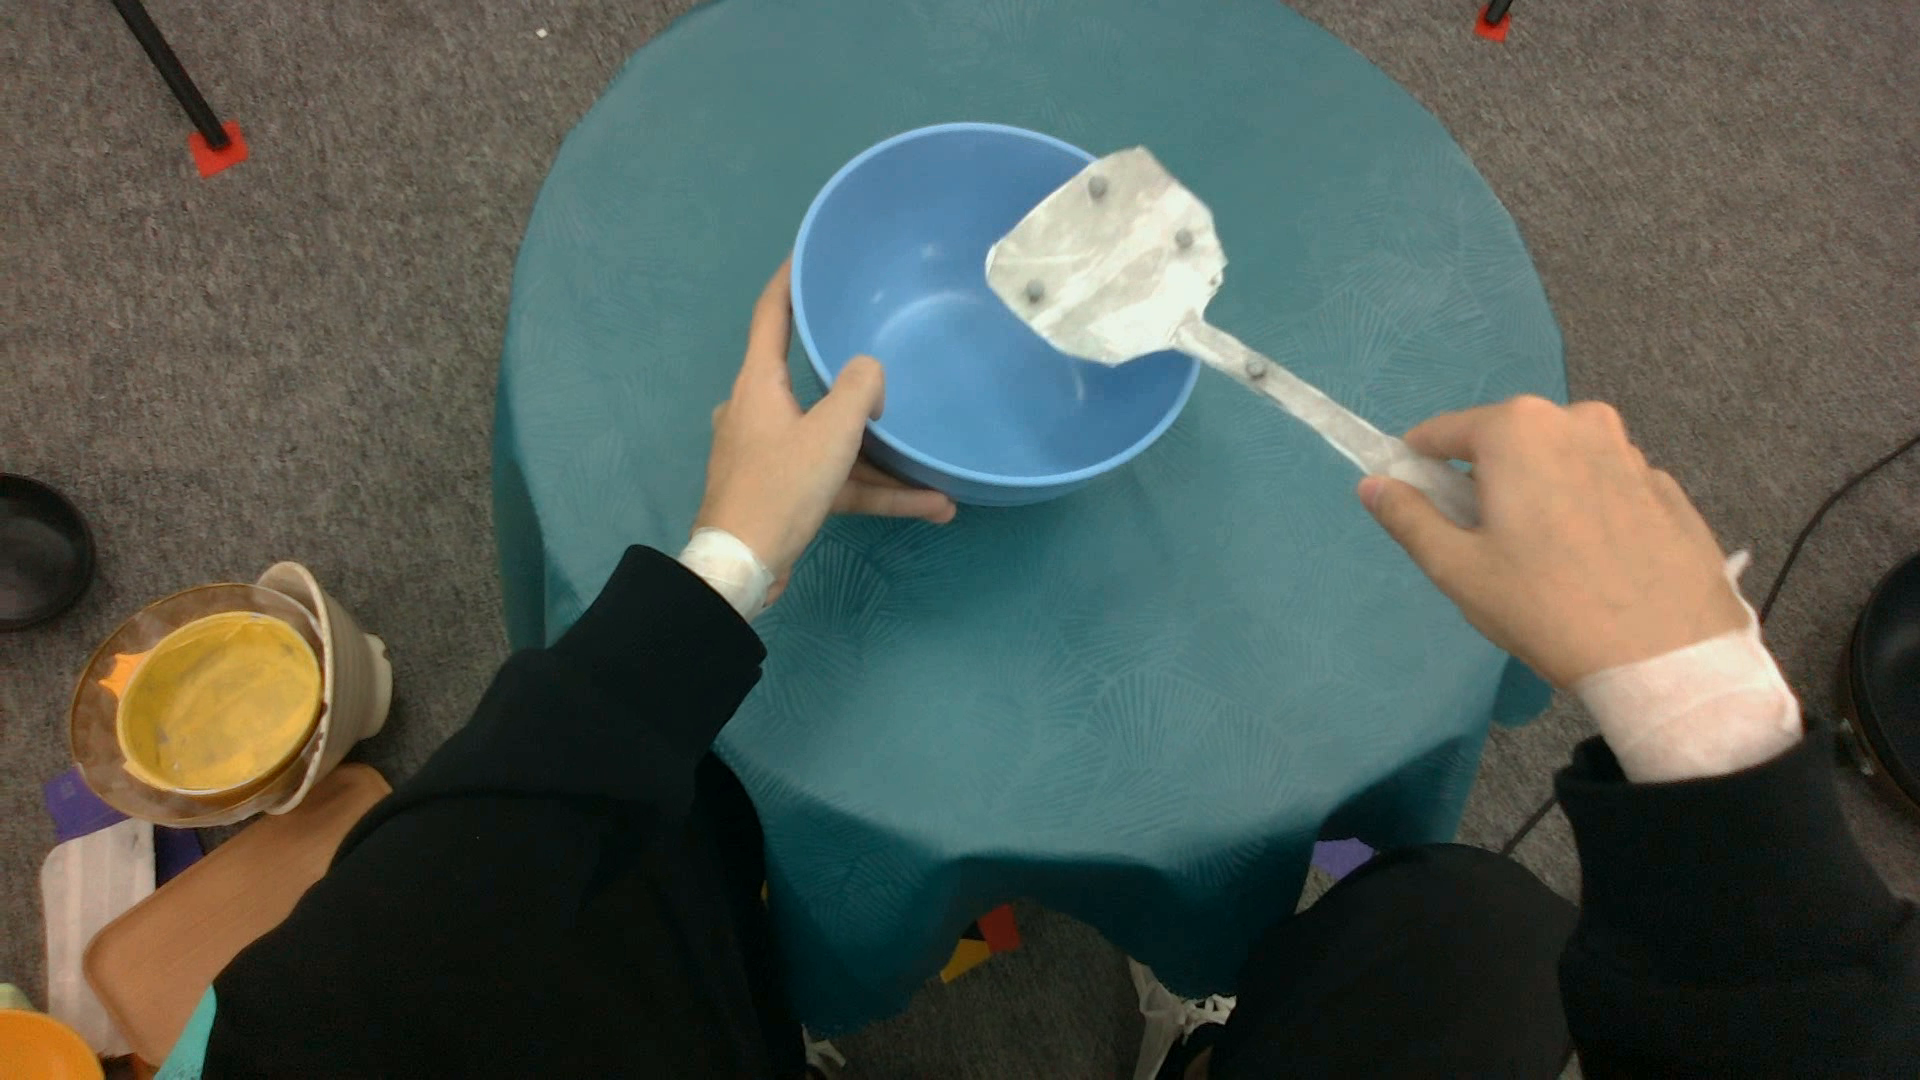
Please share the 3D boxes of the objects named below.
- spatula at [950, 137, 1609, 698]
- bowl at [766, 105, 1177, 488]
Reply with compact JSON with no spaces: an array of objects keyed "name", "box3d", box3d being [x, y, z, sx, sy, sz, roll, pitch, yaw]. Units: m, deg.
[{"name":"spatula","box3d":[0.117,-0.065,0.547,0.099,0.044,0.365,-37,44,-4]},{"name":"bowl","box3d":[-0.001,-0.105,0.680,0.196,0.095,0.197,5,67,-12]}]
